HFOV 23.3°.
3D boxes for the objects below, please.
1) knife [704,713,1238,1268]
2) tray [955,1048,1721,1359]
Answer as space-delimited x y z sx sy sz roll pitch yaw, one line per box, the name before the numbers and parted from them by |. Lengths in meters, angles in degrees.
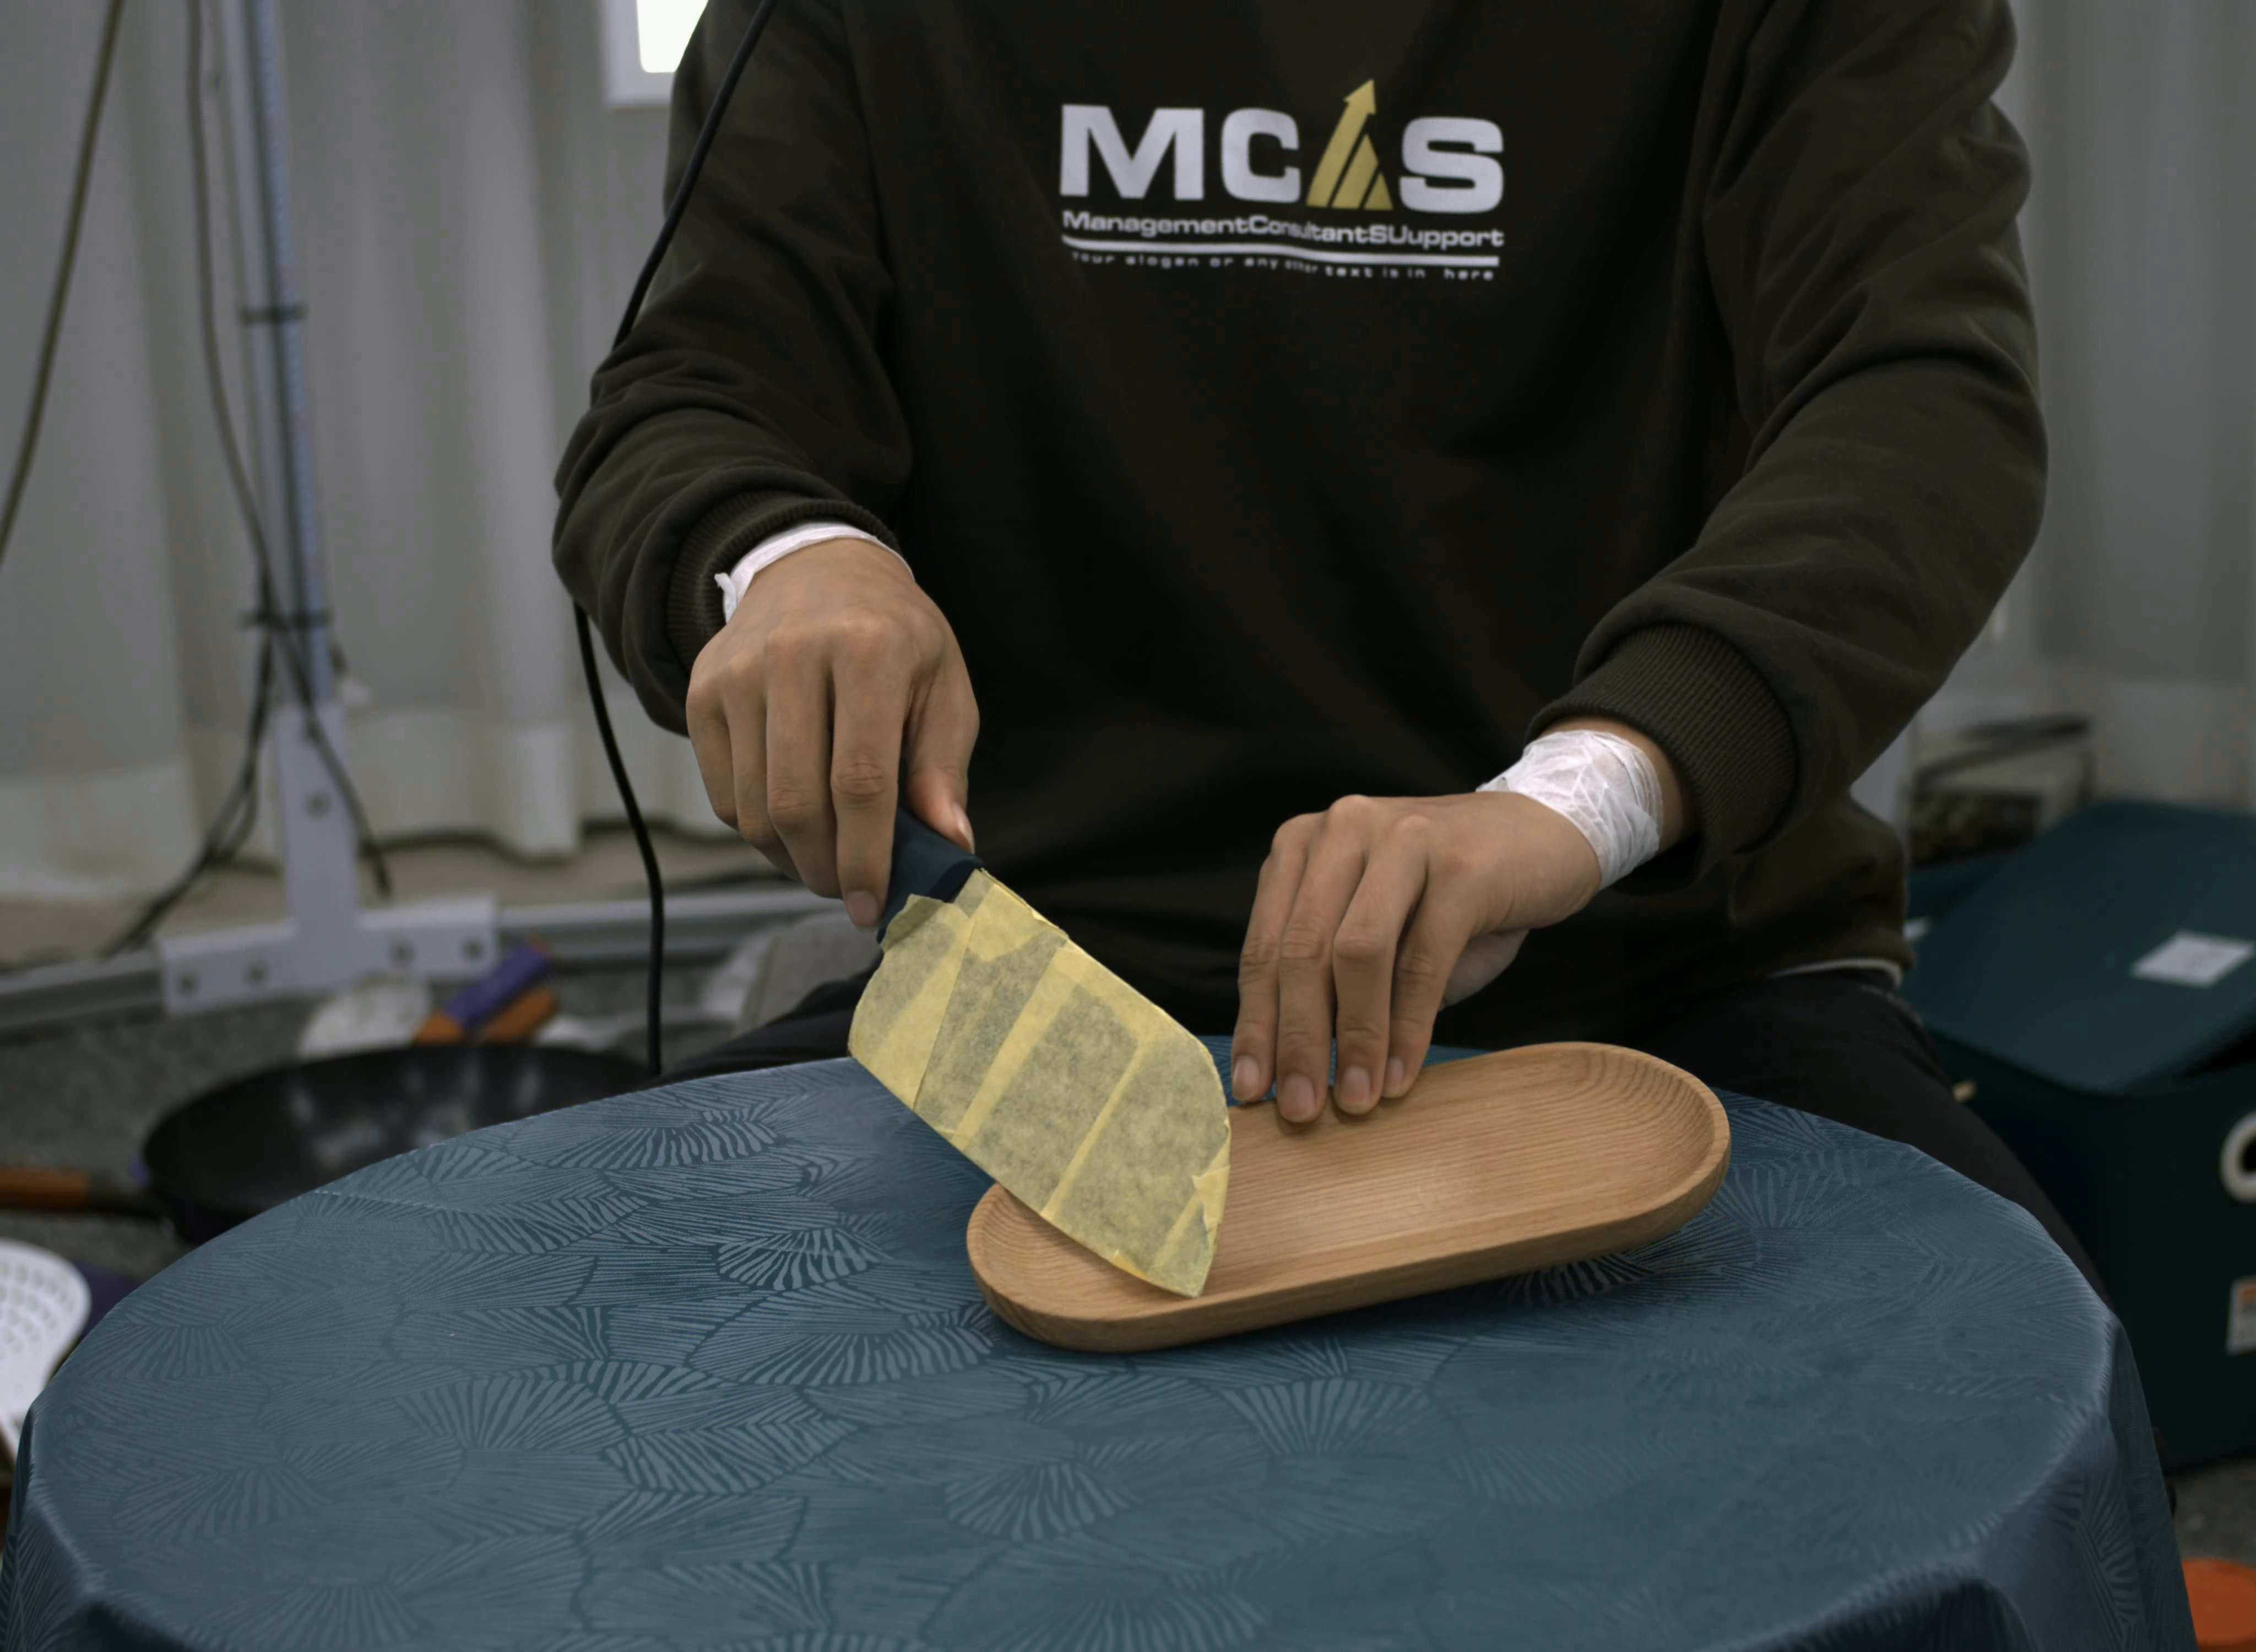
knife | -0.055 0.047 1.674 0.027 0.081 0.293 28 9 -47
tray | 0.063 0.112 1.620 0.230 0.020 0.103 -12 28 -7
